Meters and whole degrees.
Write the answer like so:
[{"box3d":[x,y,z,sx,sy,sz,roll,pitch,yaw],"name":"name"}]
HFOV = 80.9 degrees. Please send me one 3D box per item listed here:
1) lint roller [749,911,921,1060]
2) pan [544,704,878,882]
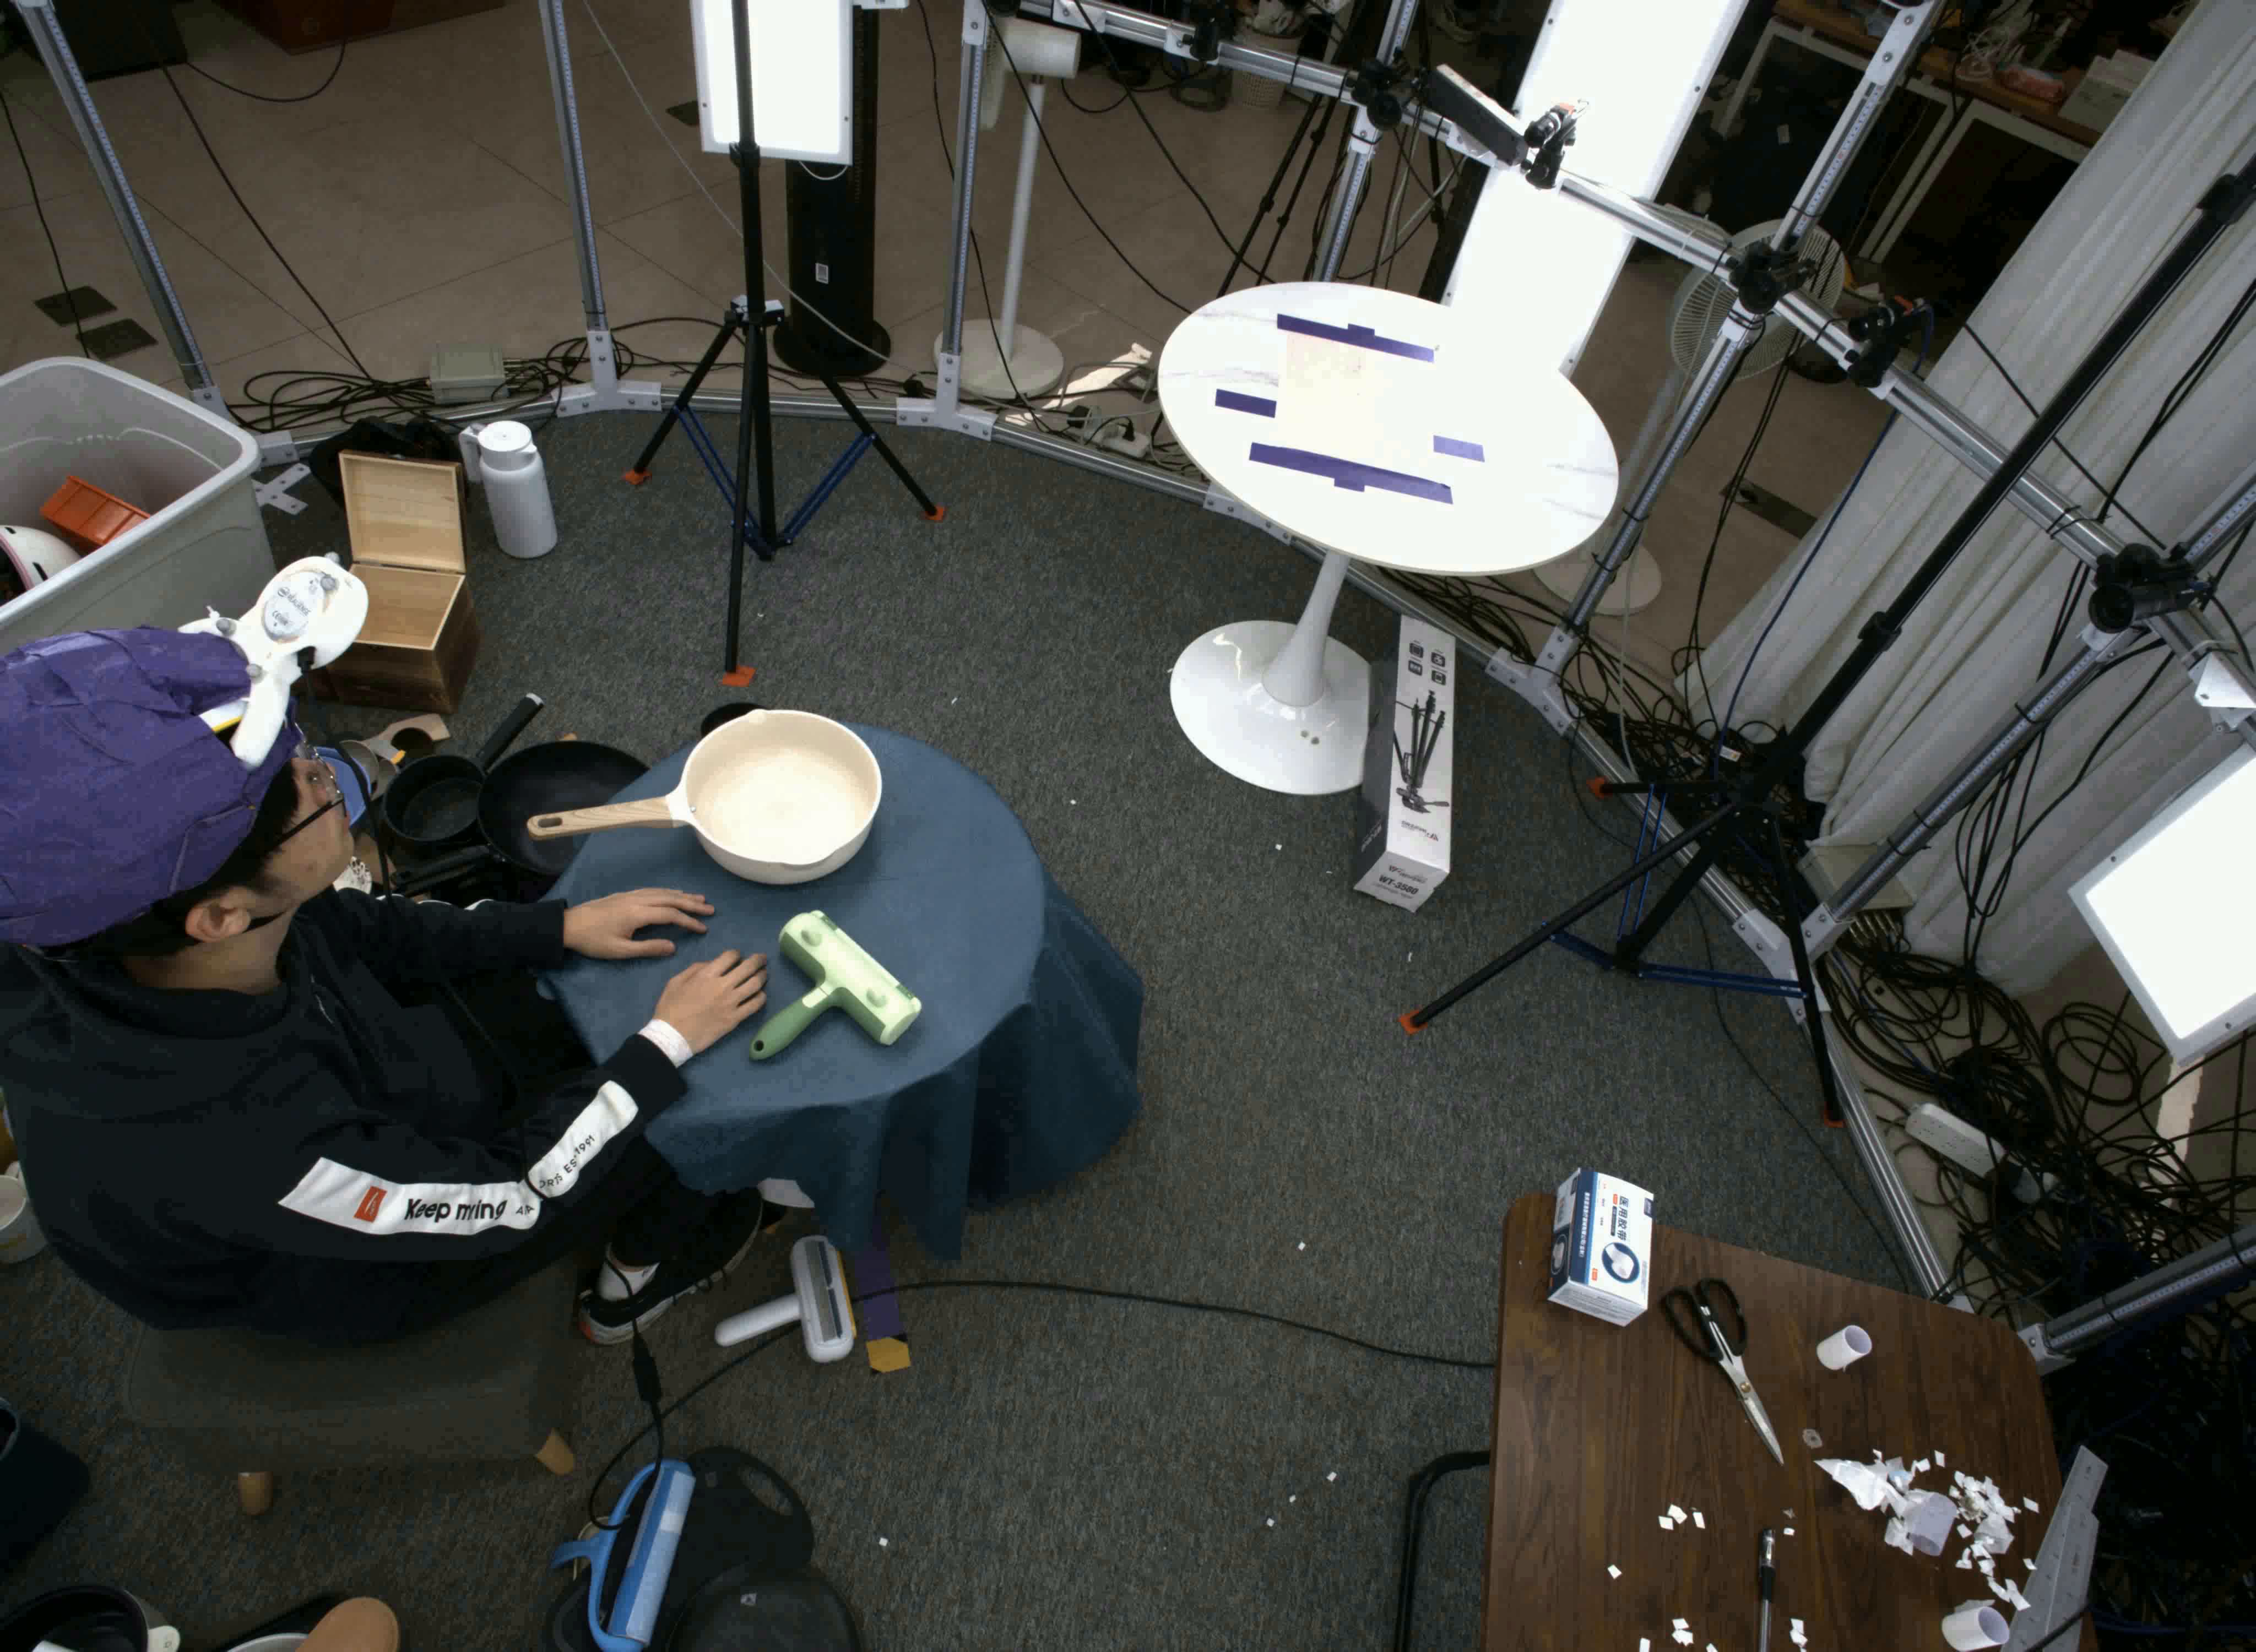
[{"box3d":[-0.376,0.203,1.544,0.194,0.084,0.184,39,49,15],"name":"lint roller"},{"box3d":[-0.535,-0.019,1.651,0.437,0.104,0.257,-15,61,-24],"name":"pan"}]
